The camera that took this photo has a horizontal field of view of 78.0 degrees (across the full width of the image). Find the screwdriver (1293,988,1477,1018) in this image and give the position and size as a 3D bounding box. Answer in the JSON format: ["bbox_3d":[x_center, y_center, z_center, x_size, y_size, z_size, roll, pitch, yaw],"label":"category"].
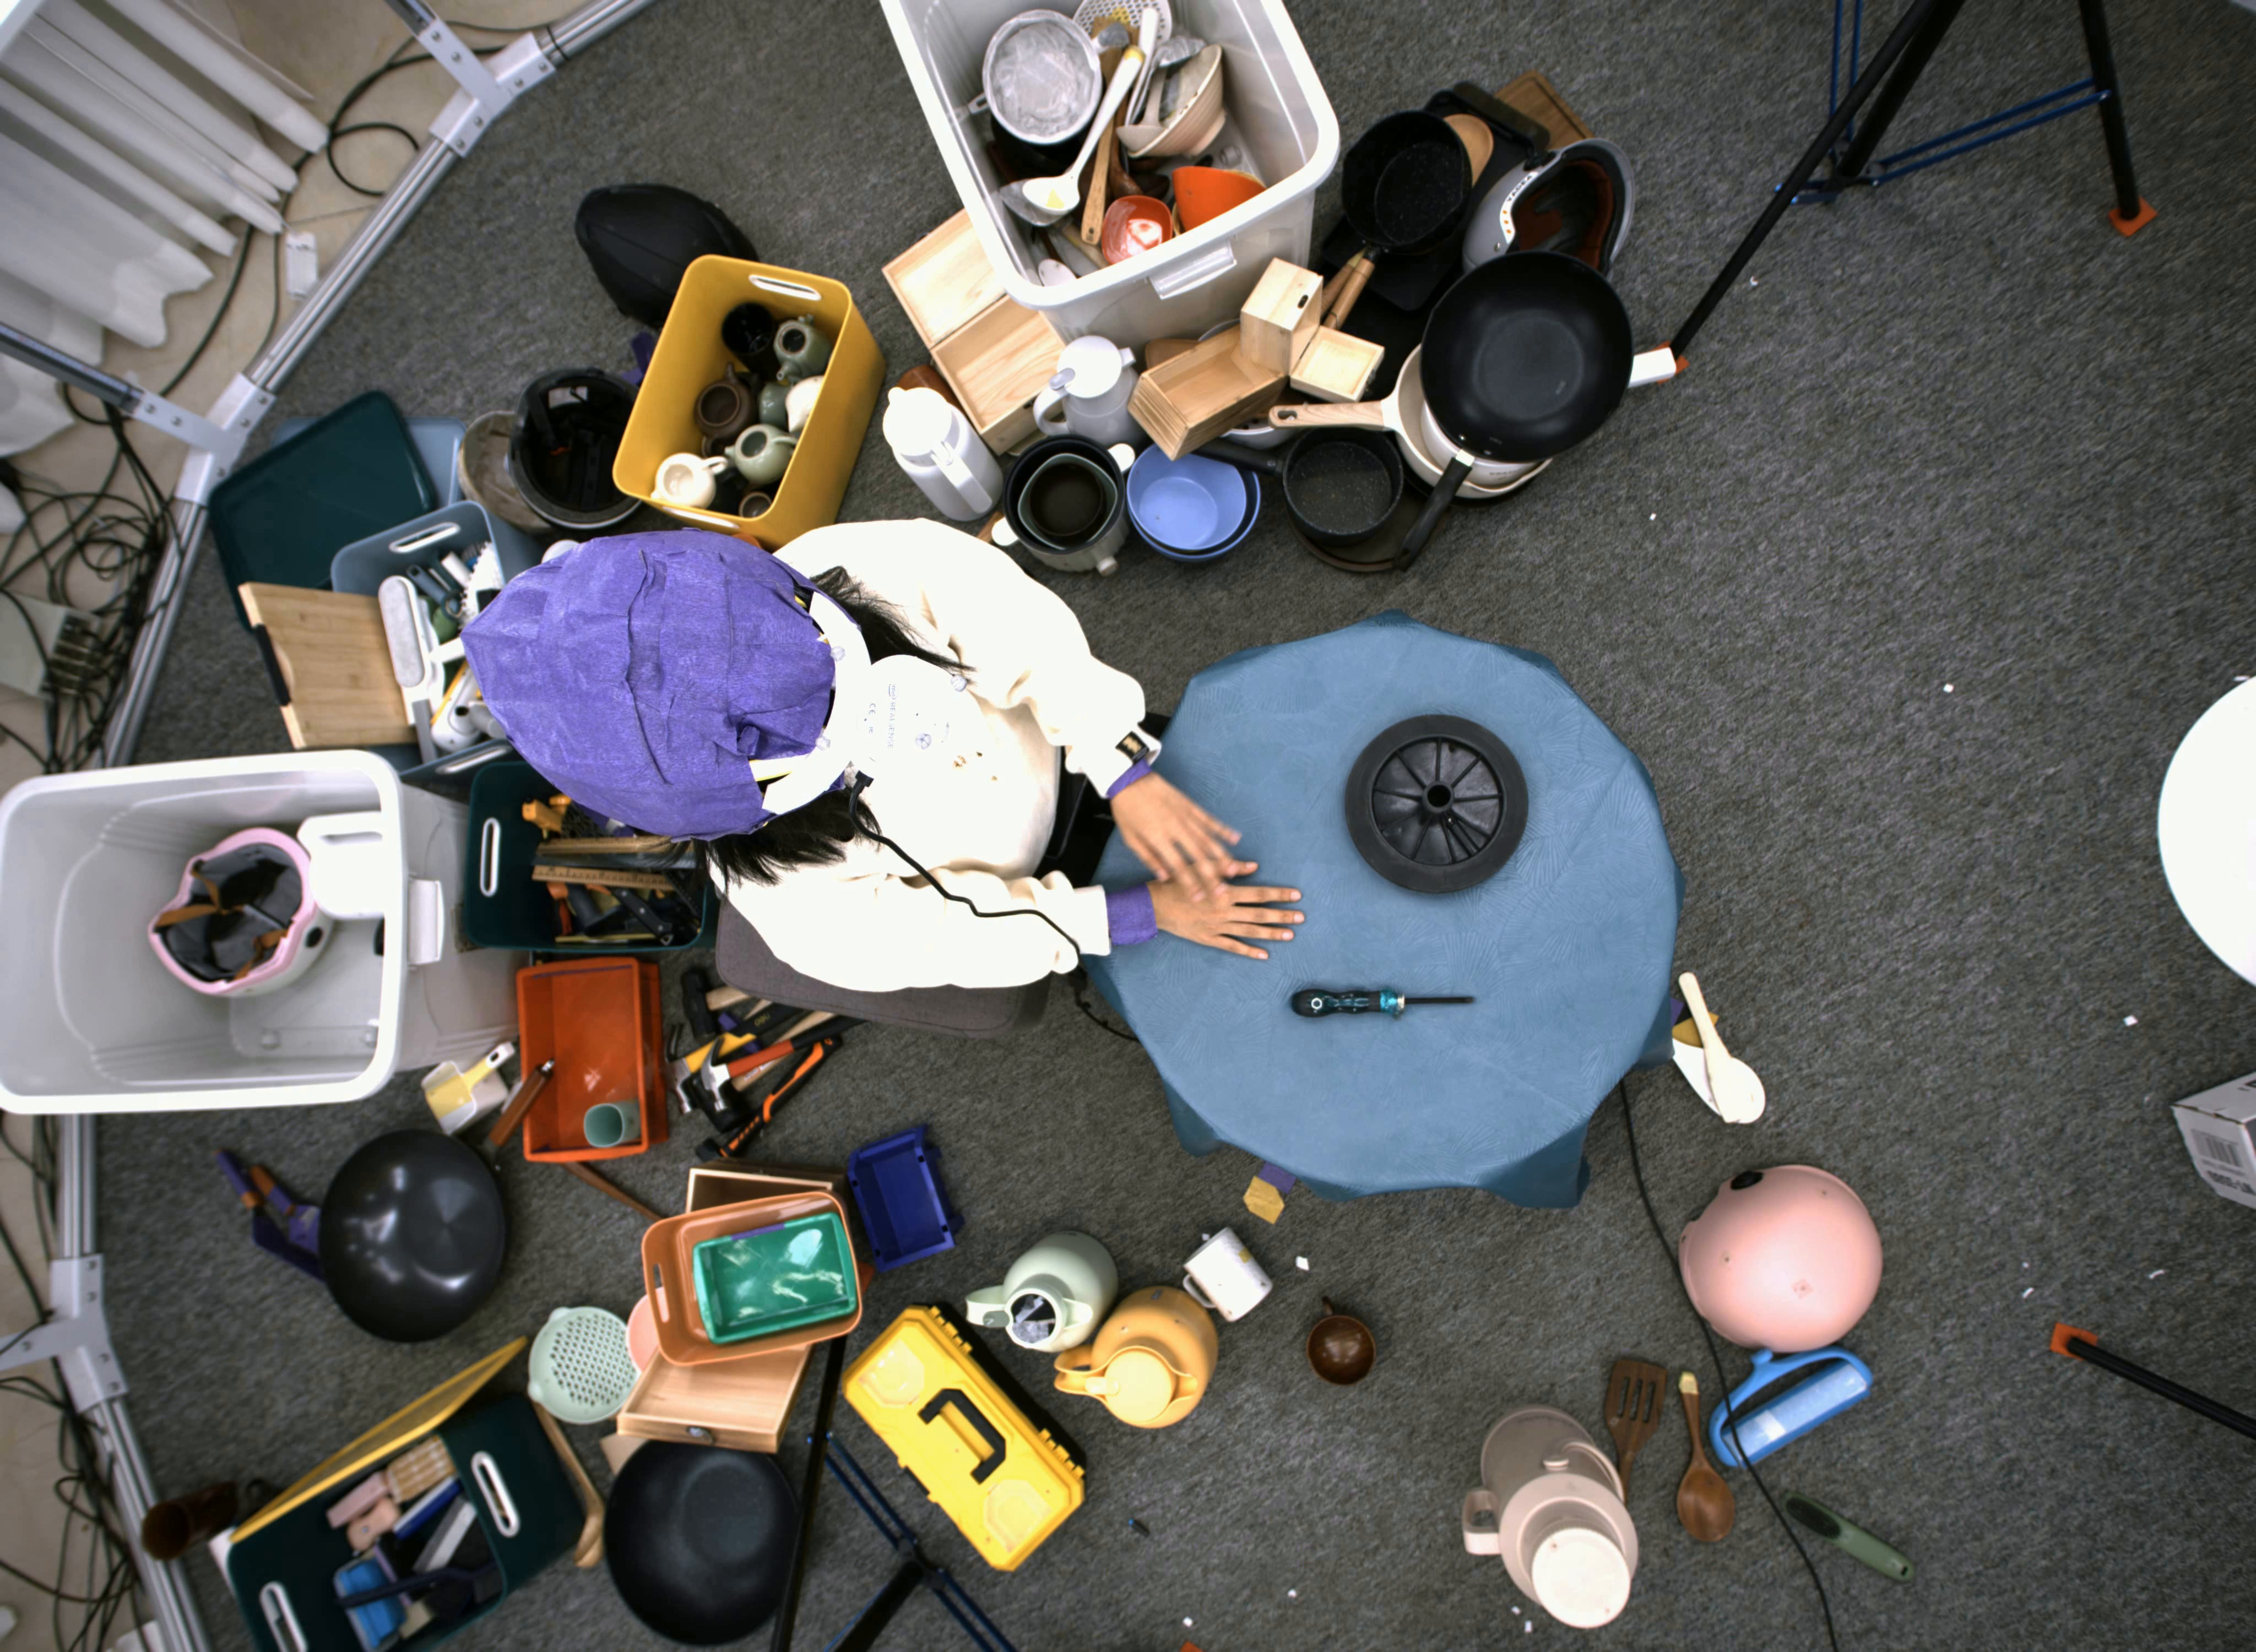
[{"bbox_3d":[0.268,0.183,1.444,0.190,0.034,0.033,-1,85,5],"label":"screwdriver"}]

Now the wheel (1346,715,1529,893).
[{"bbox_3d":[0.320,-0.026,1.419,0.189,0.079,0.188,31,92,8],"label":"wheel"}]
